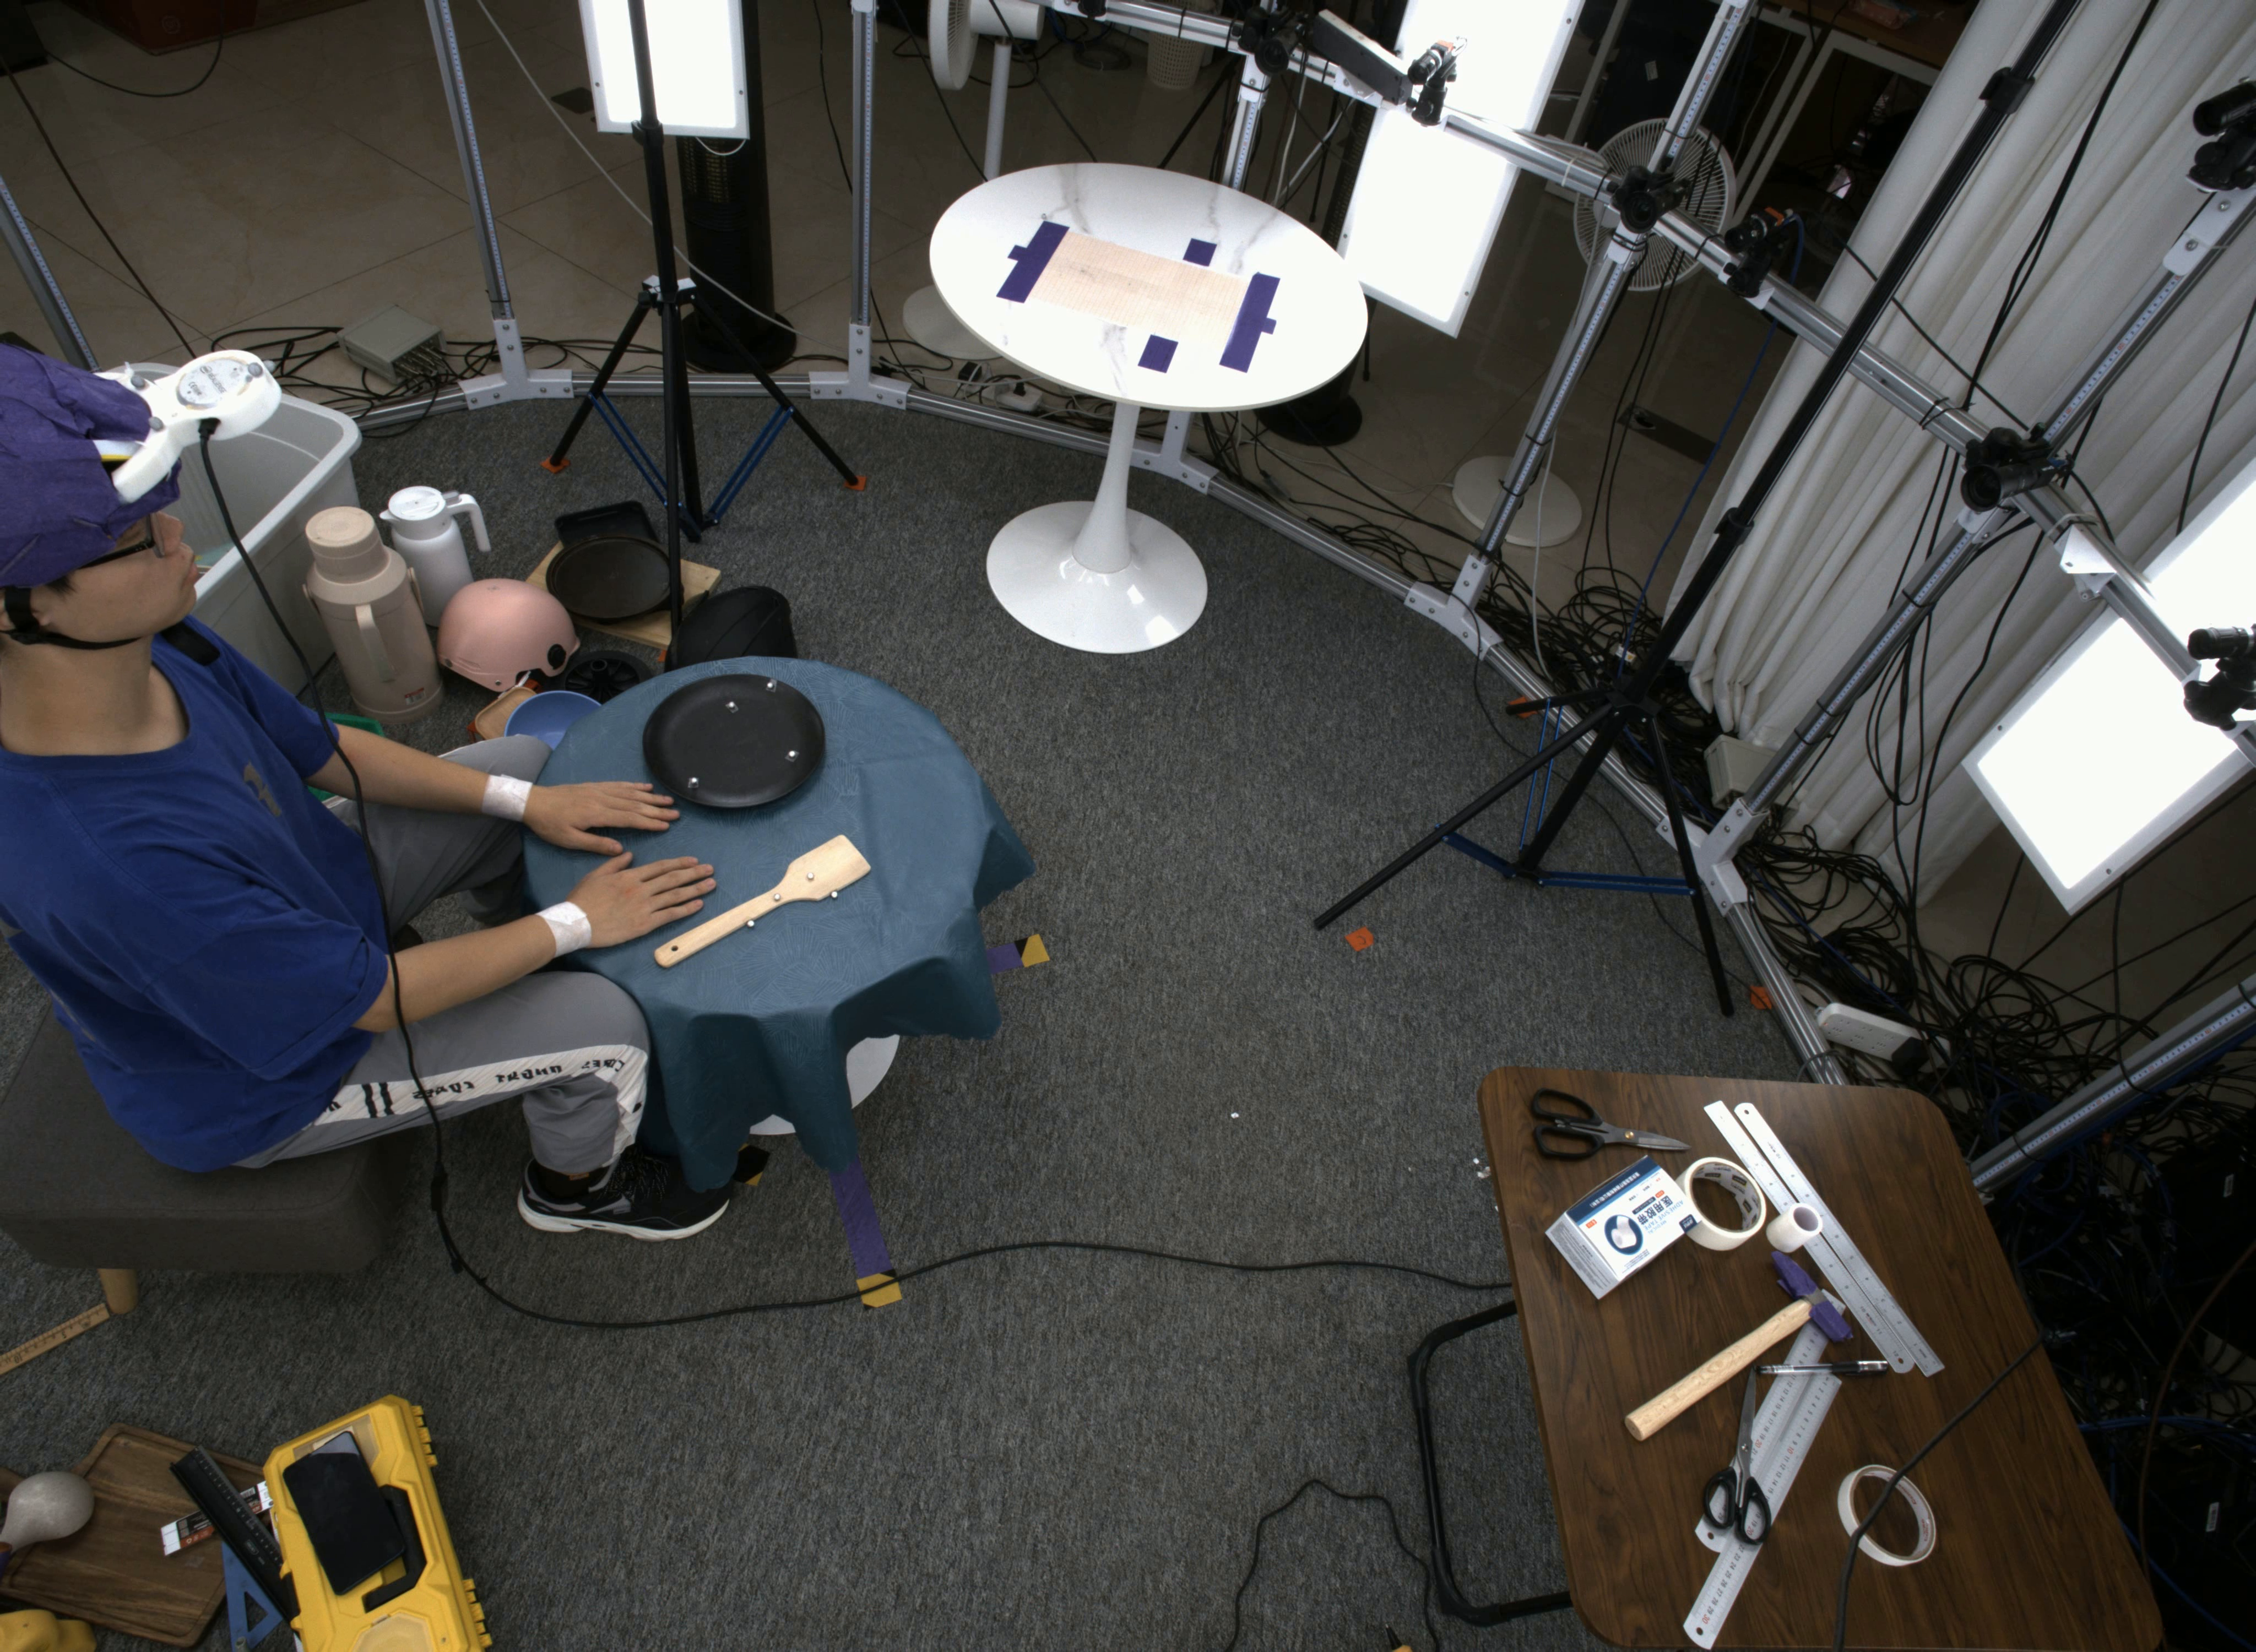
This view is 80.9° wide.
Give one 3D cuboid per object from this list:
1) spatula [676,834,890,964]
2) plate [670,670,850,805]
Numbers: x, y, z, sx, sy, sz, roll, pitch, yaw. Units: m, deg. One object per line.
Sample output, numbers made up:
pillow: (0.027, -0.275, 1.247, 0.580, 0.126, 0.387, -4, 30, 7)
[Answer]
spatula: (-0.441, 0.096, 1.653, 0.294, 0.011, 0.070, -30, 67, -31)
plate: (-0.507, -0.120, 1.787, 0.244, 0.024, 0.240, 8, 53, -8)
